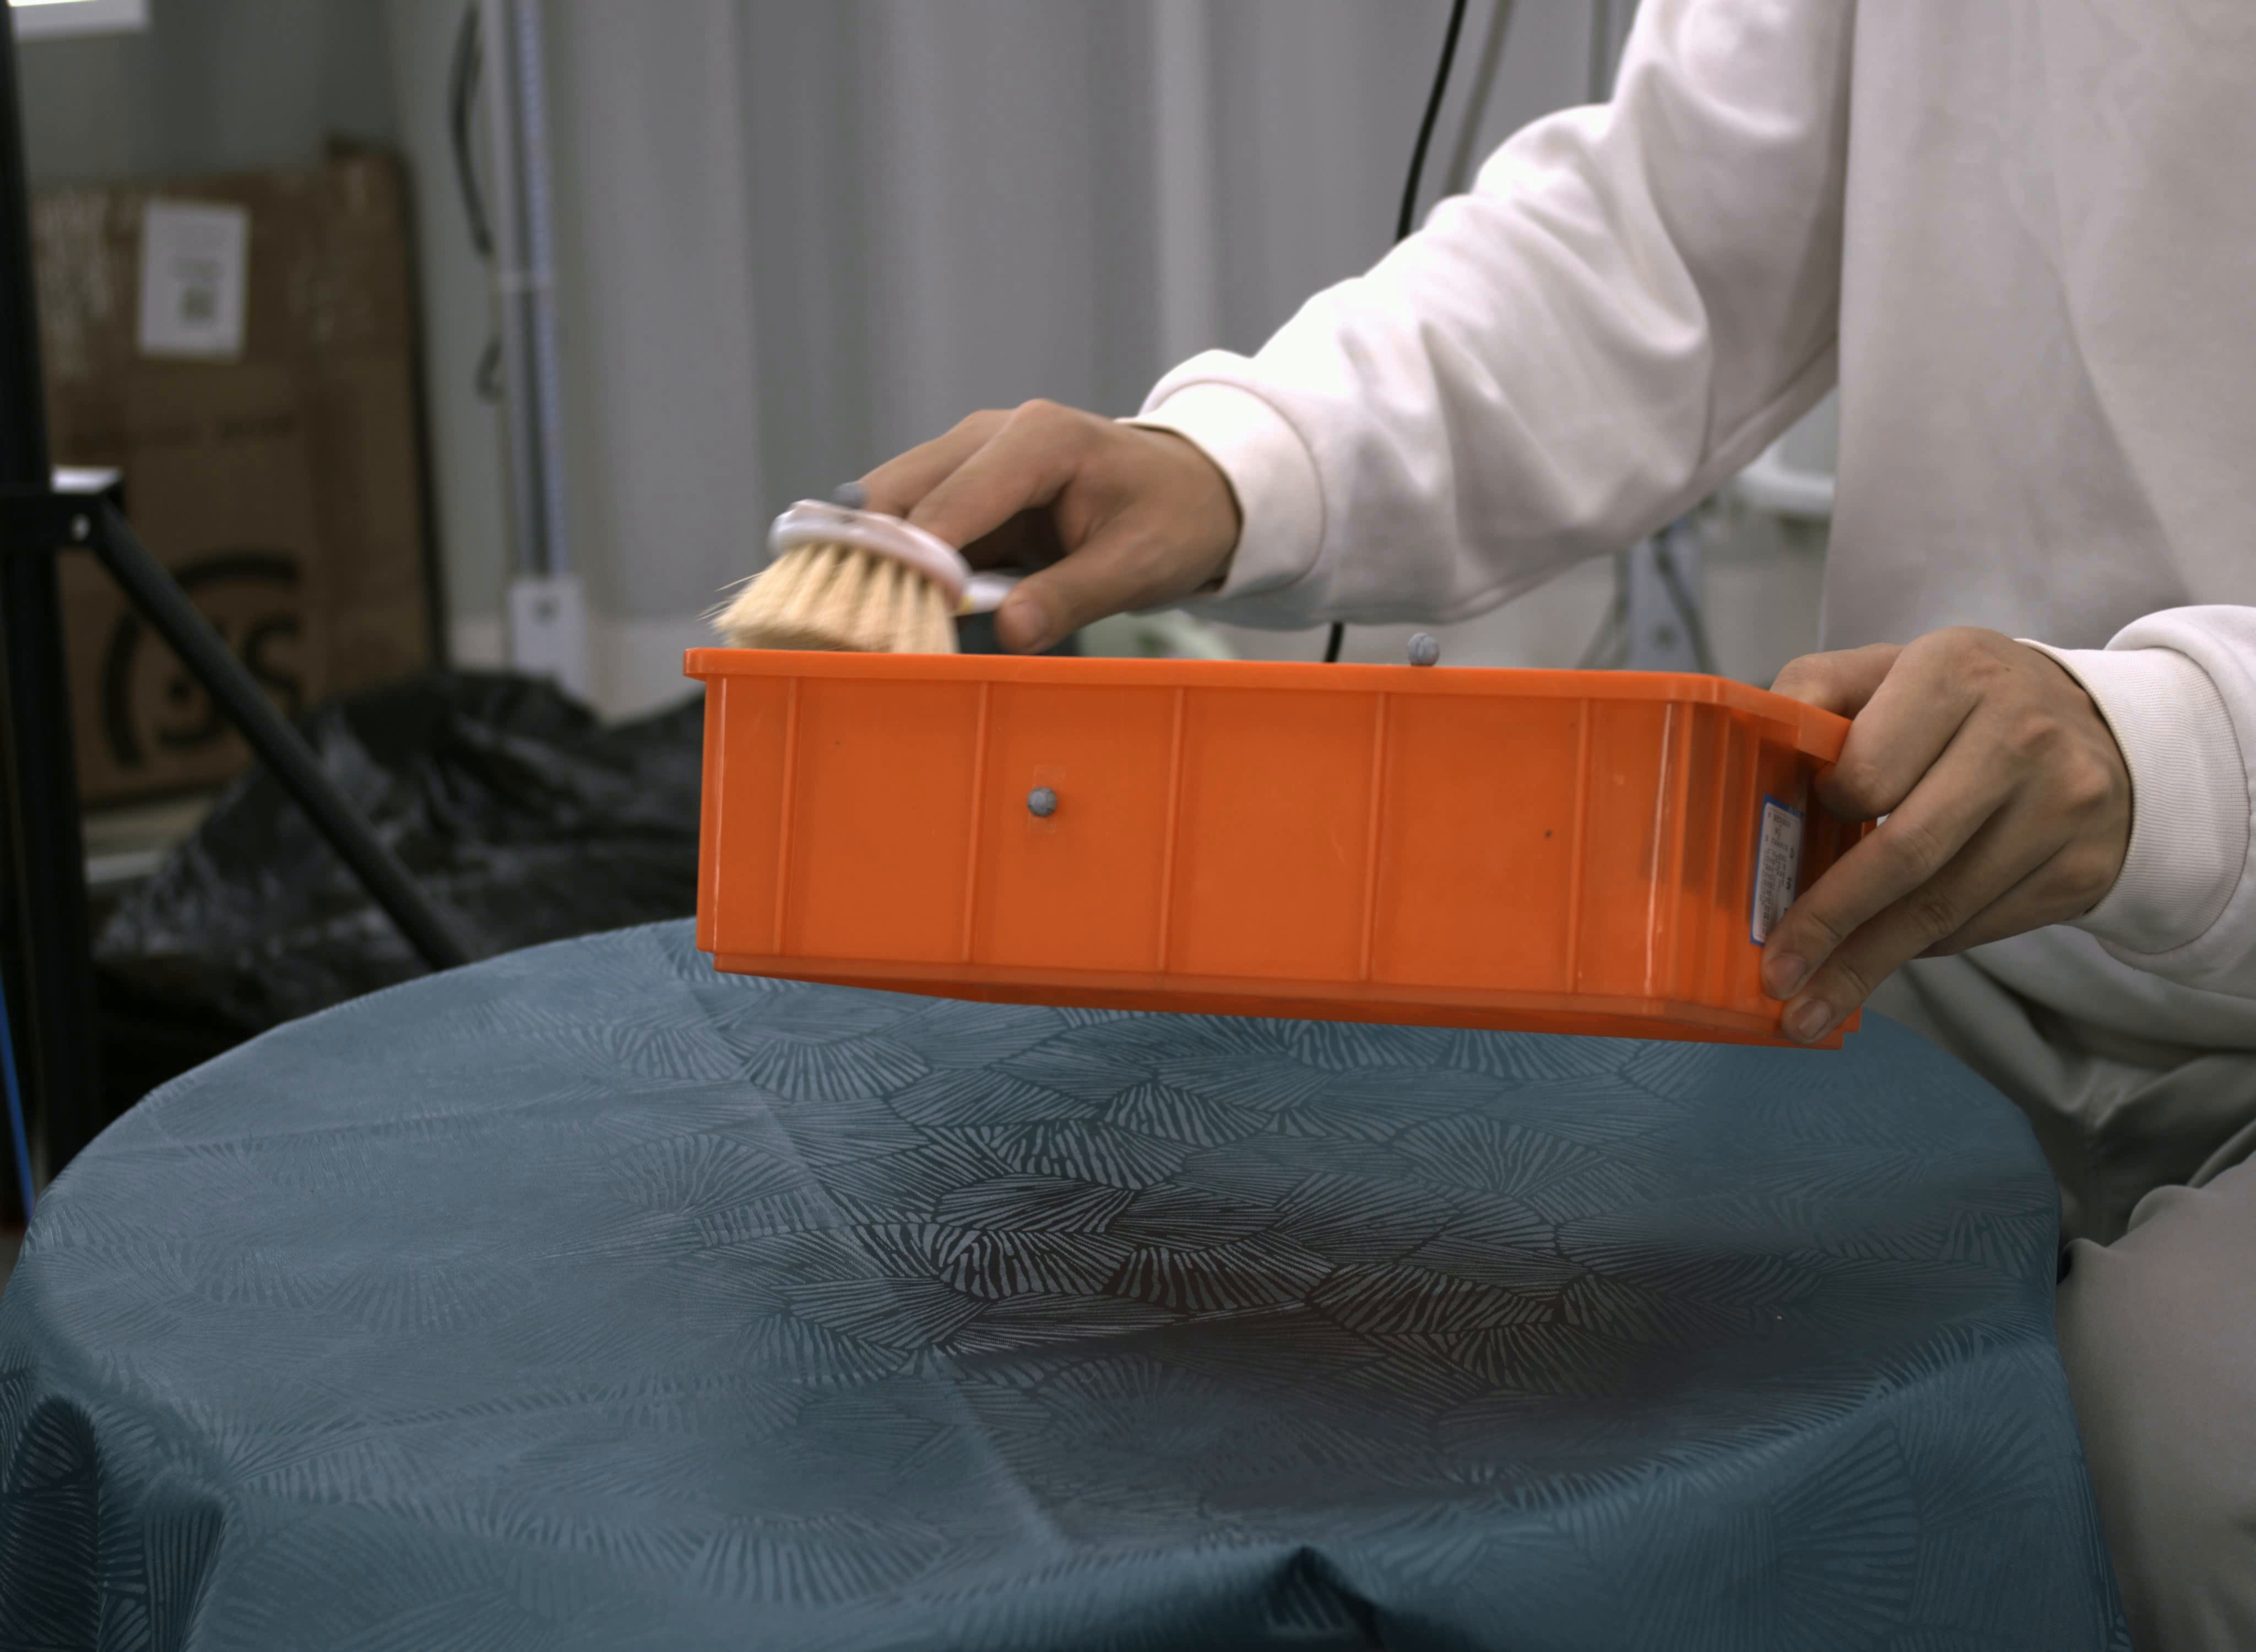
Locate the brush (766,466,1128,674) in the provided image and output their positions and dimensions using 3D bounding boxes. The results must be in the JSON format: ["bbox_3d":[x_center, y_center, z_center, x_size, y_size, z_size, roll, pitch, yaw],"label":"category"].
[{"bbox_3d":[-0.046,-0.058,1.648,0.069,0.056,0.263,26,-1,14],"label":"brush"}]

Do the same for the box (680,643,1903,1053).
[{"bbox_3d":[0.045,0.008,1.465,0.308,0.097,0.202,4,-4,24],"label":"box"}]
